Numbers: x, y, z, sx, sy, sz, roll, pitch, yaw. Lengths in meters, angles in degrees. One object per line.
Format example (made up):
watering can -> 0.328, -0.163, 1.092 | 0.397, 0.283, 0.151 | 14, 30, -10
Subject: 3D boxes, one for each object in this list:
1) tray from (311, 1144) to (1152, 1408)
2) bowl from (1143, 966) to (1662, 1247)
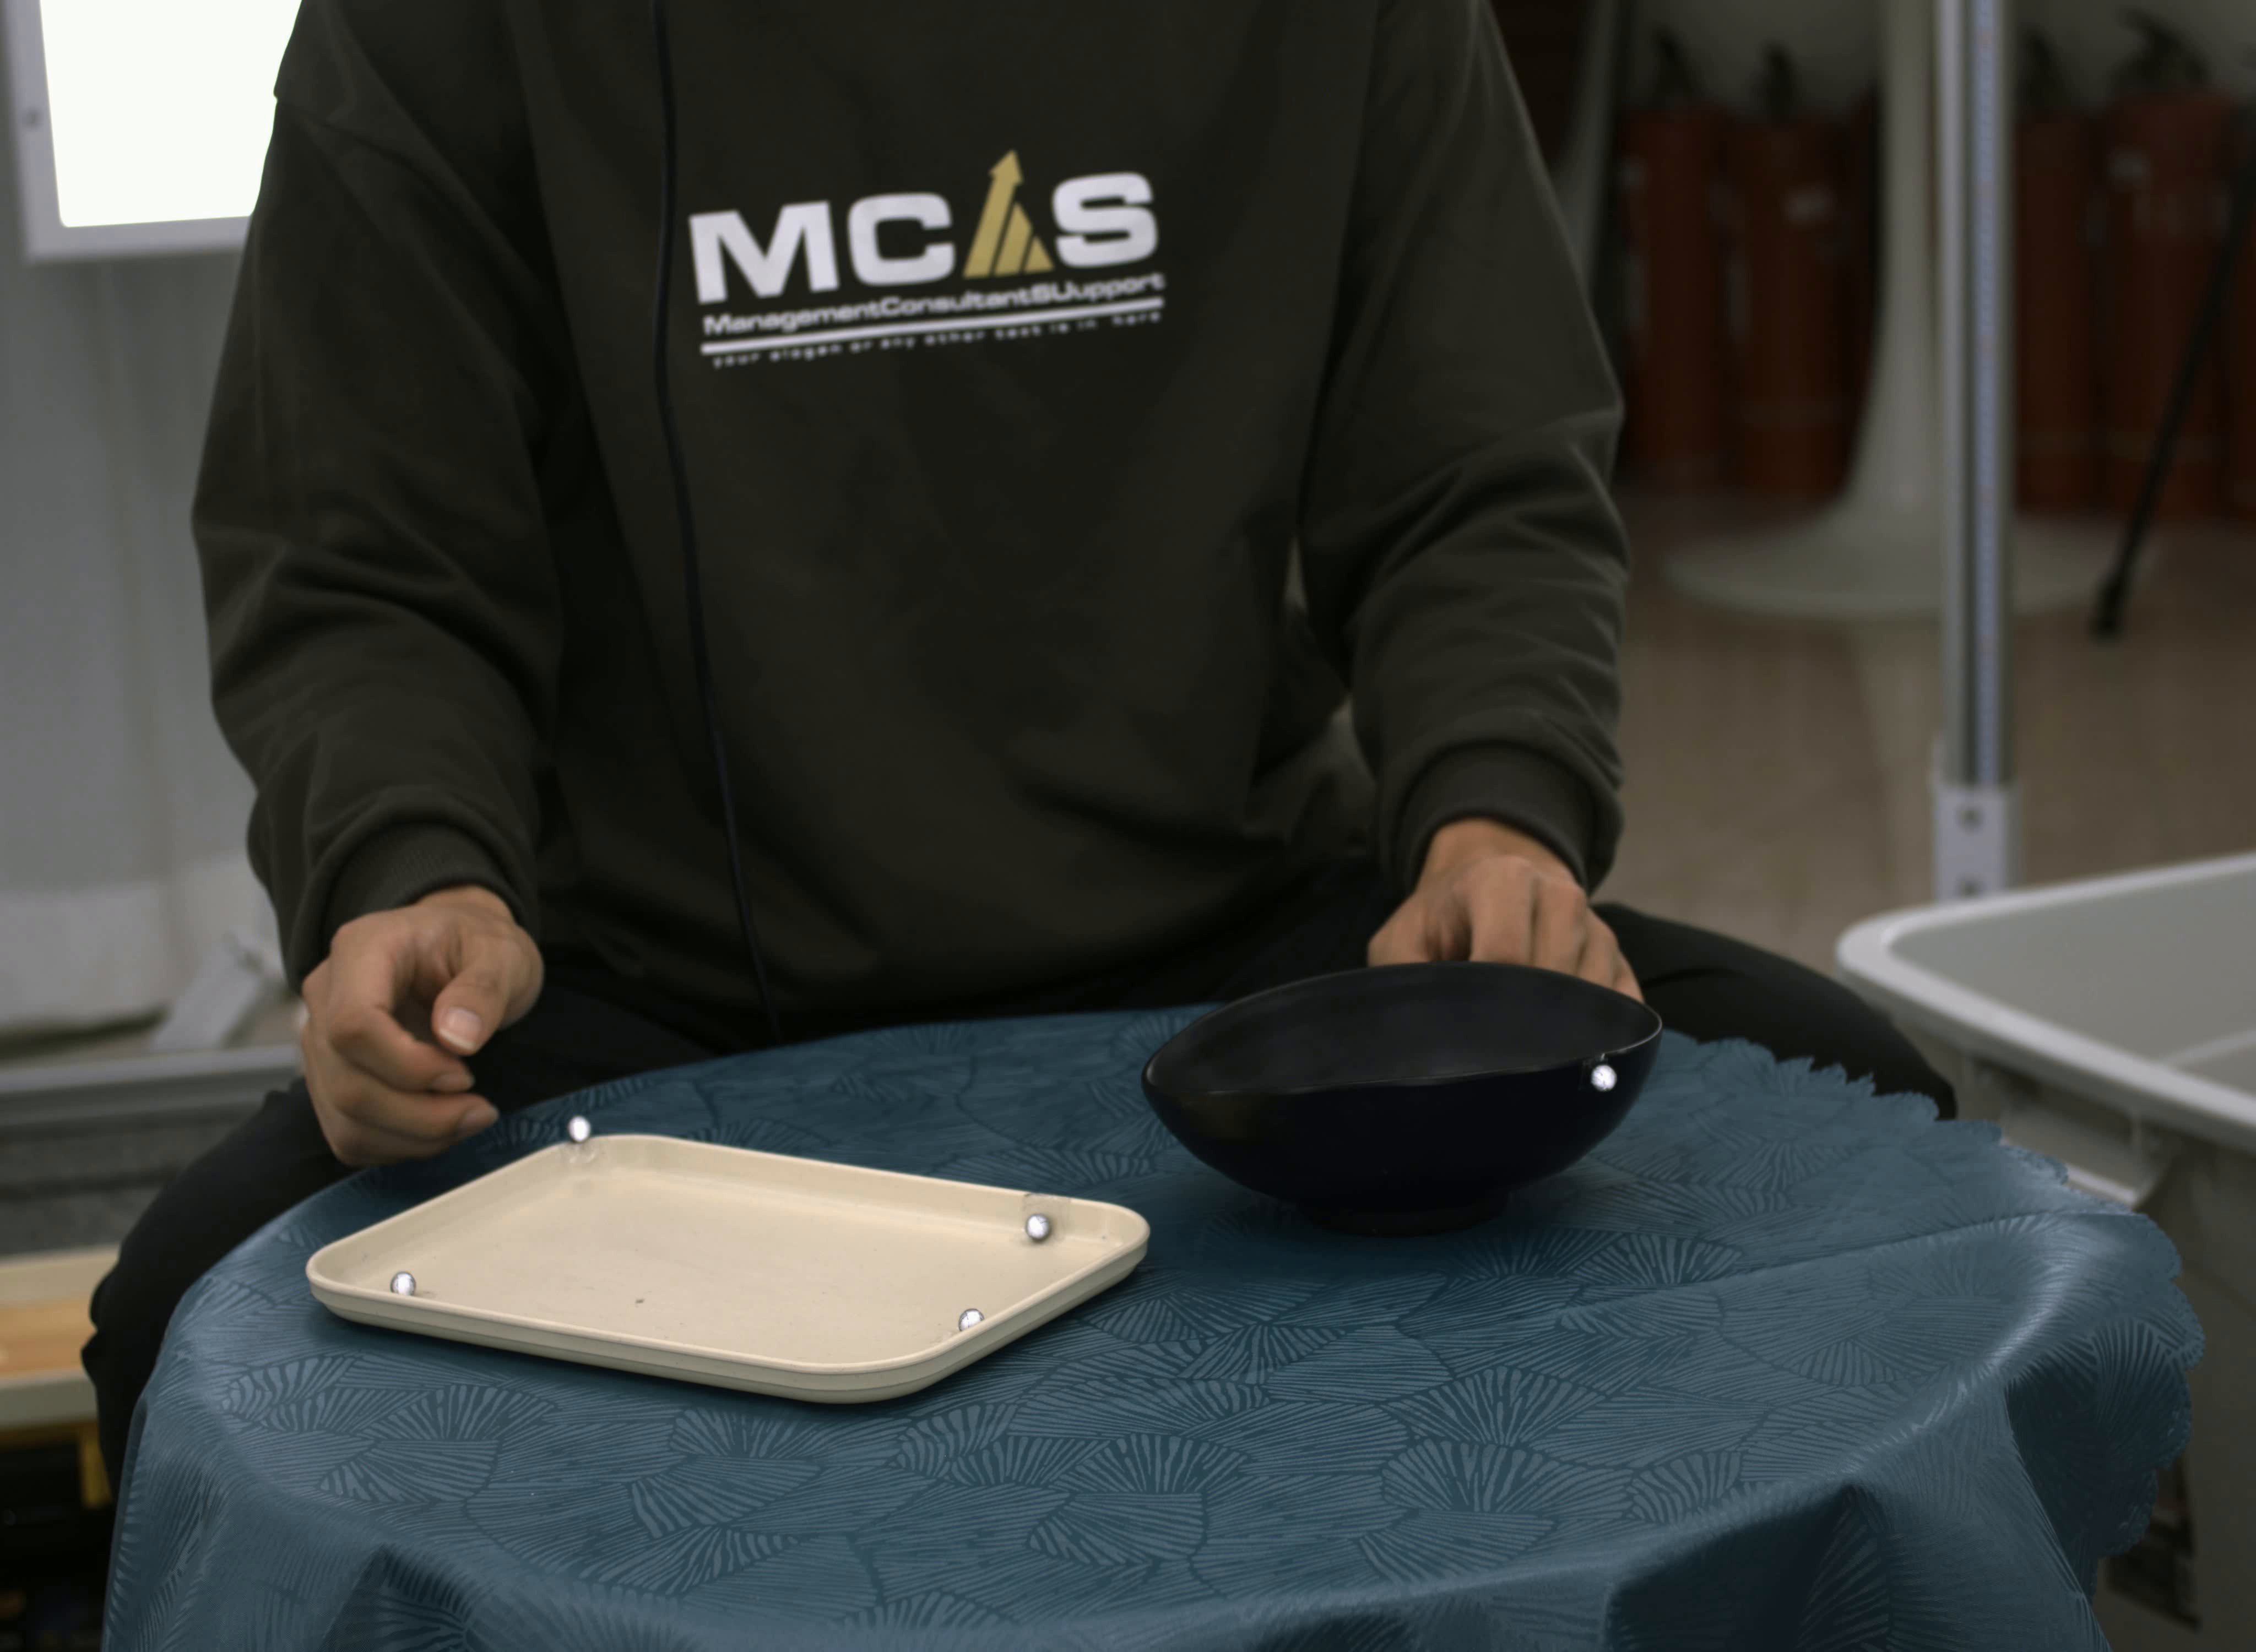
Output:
tray -> -0.124, 0.140, 1.696 | 0.241, 0.017, 0.168 | 5, 16, 34
bowl -> 0.090, 0.095, 1.733 | 0.168, 0.067, 0.137 | -6, 12, -2
